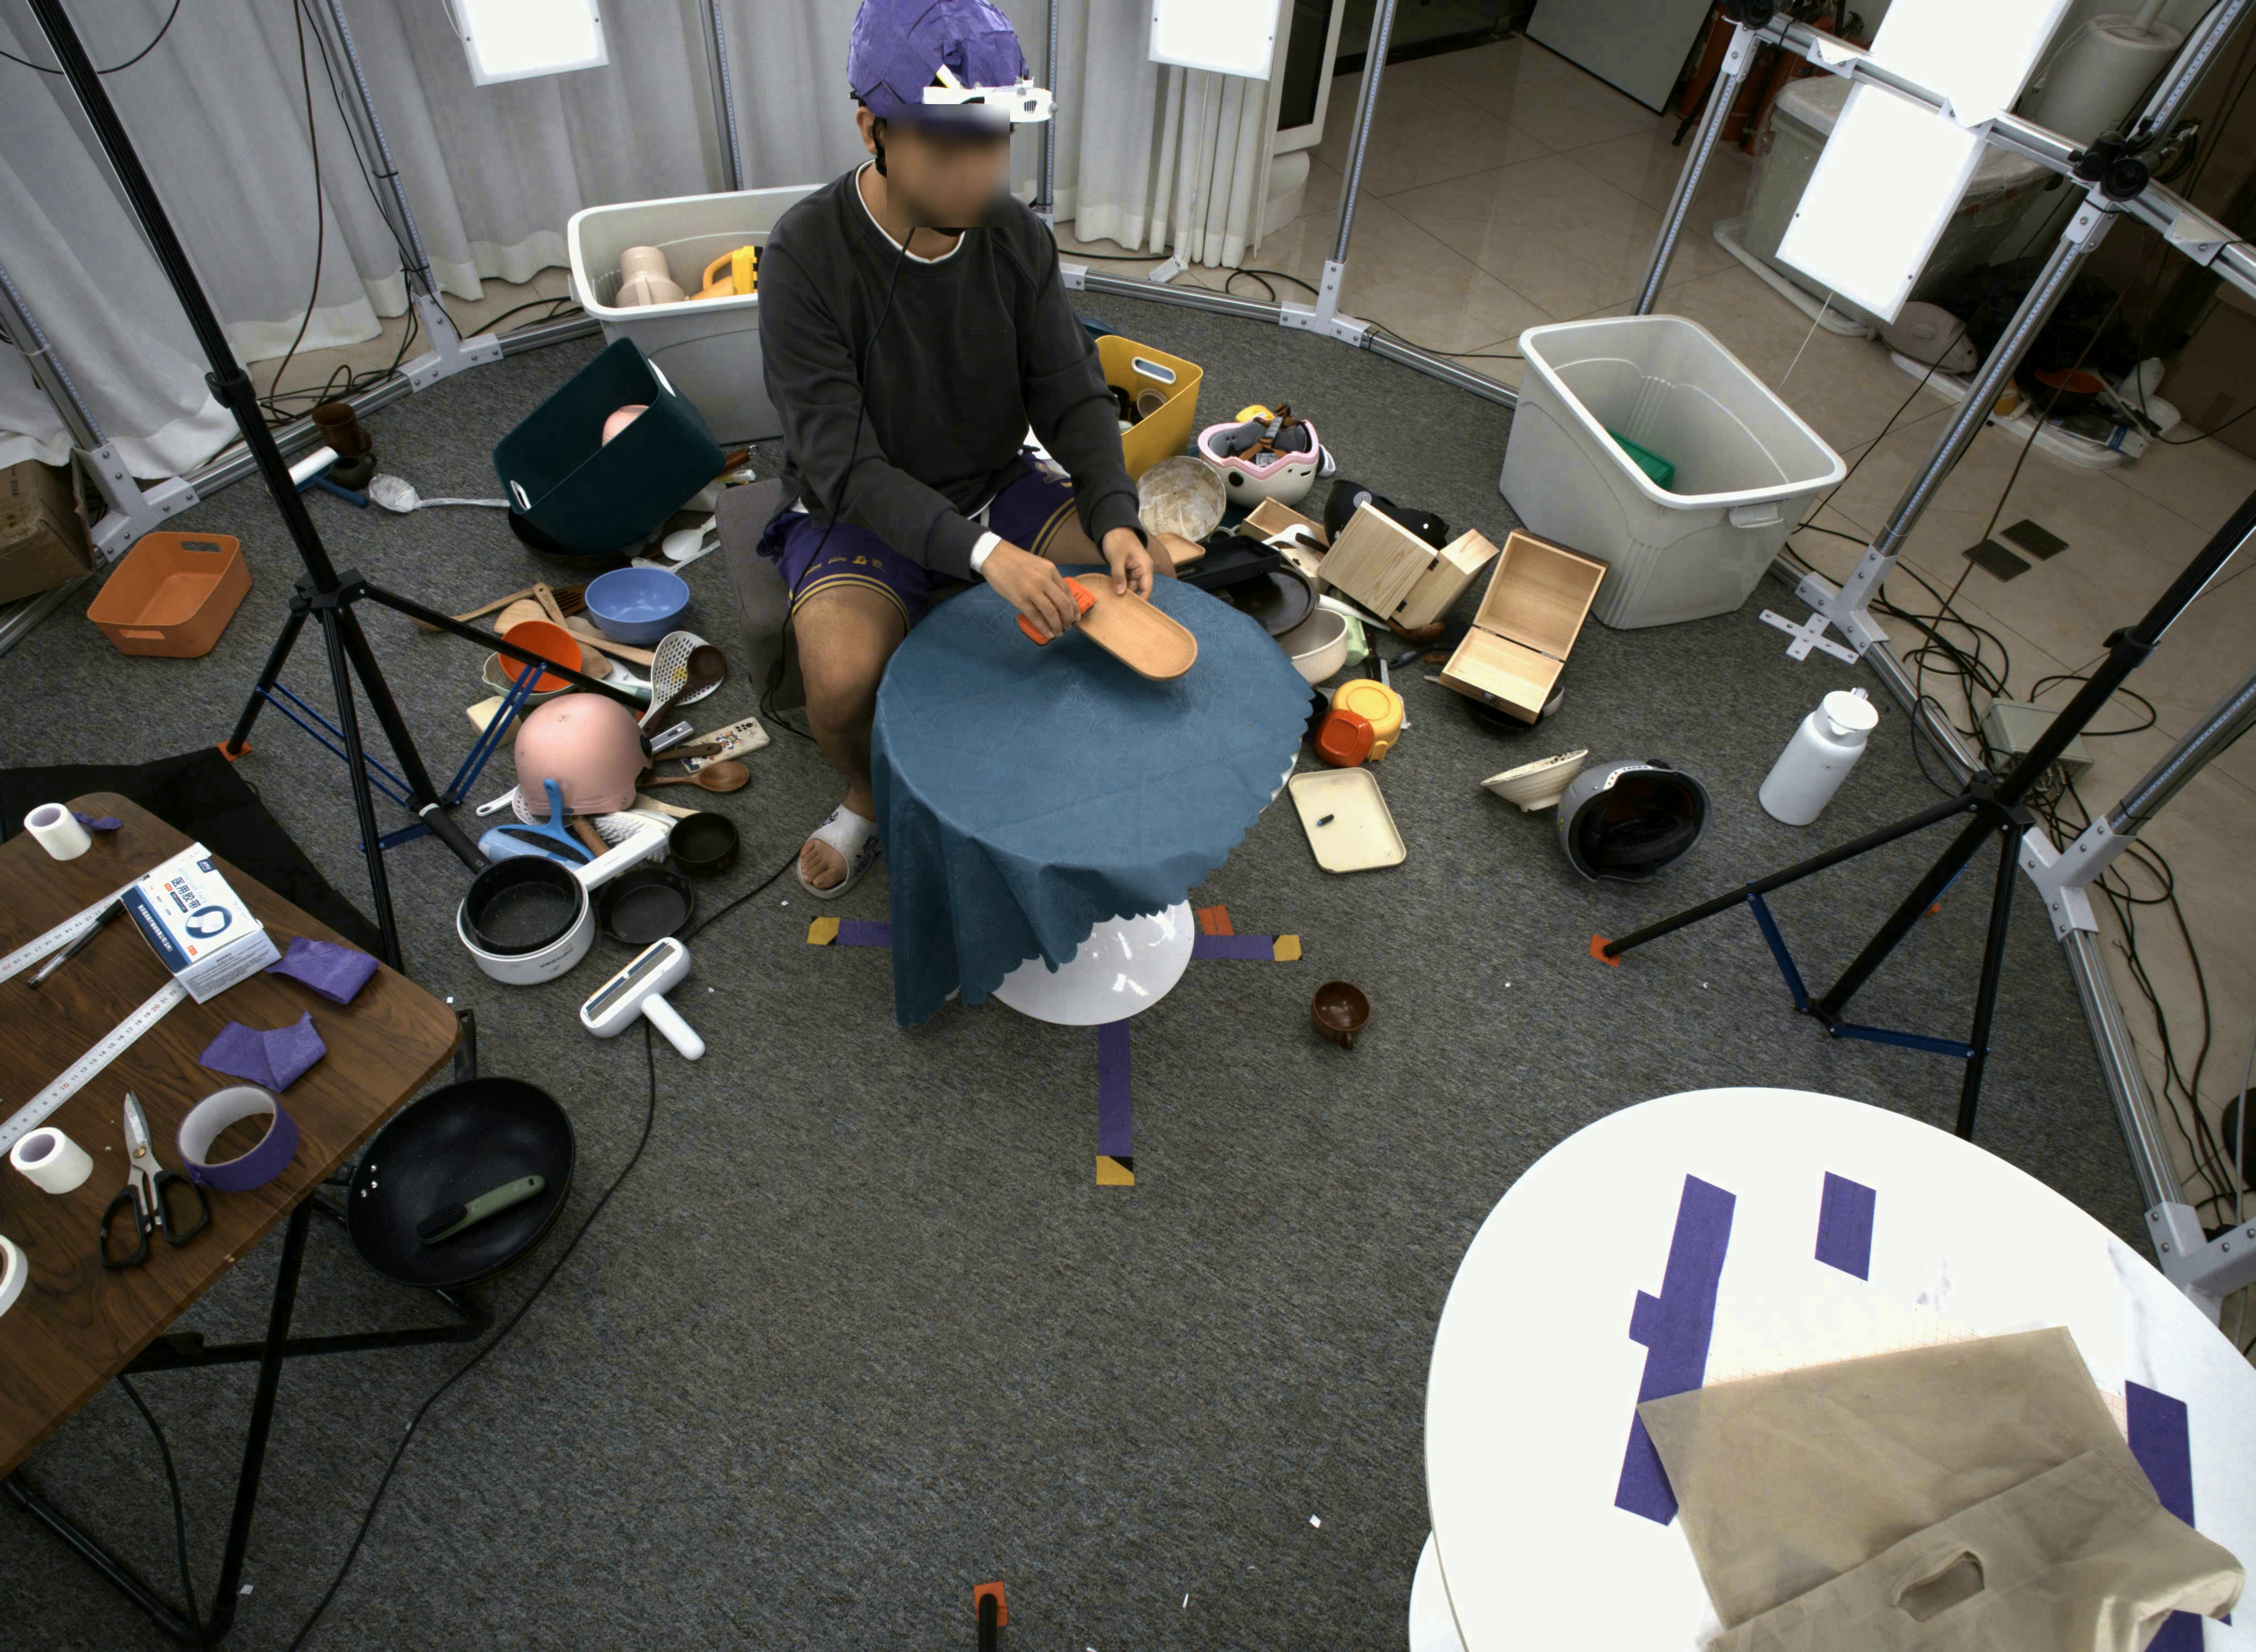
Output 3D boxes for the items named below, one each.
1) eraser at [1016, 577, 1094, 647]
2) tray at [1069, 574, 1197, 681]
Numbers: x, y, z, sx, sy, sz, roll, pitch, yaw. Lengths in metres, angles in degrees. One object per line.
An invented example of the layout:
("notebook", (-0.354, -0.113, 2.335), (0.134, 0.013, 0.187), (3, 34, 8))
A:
("eraser", (-0.103, -0.304, 1.825), (0.059, 0.022, 0.109), (43, 69, 13))
("tray", (-0.004, -0.284, 1.834), (0.234, 0.020, 0.103), (36, 64, 21))
